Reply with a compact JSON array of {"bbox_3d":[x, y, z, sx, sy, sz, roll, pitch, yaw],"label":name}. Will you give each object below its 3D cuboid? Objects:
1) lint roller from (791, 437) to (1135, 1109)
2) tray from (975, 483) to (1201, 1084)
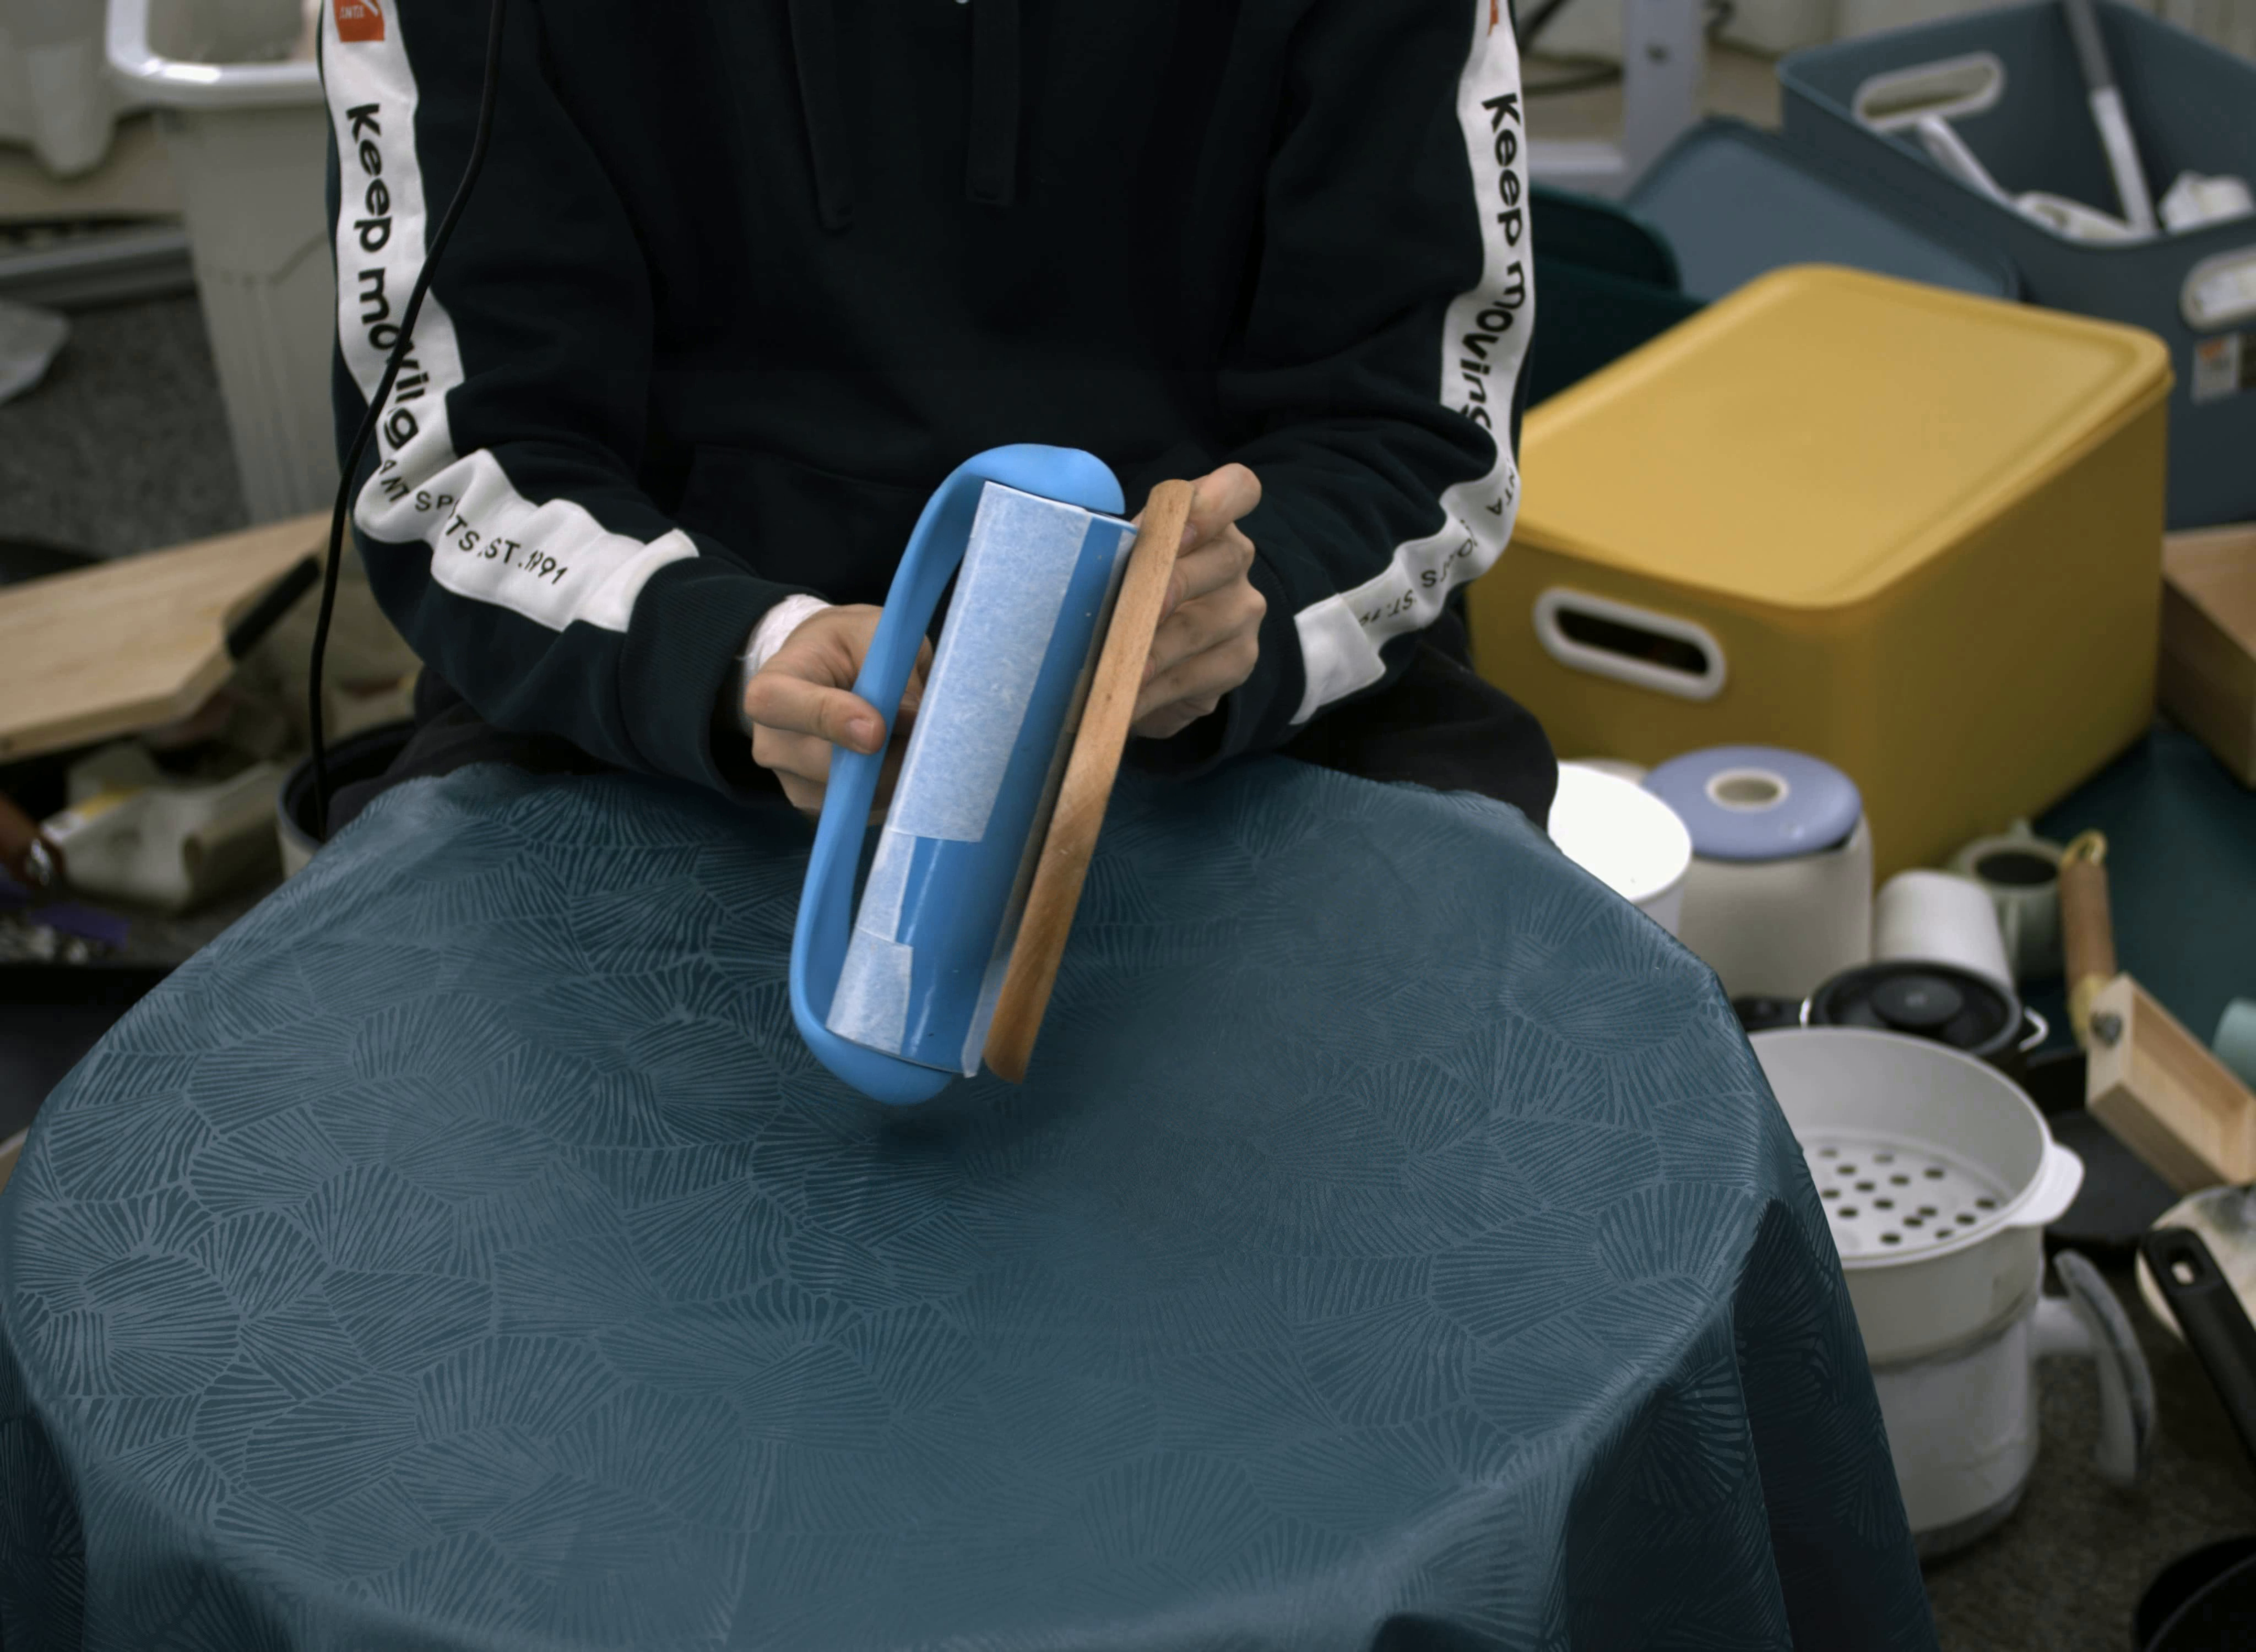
[{"bbox_3d":[-0.069,-0.023,1.929,0.068,0.230,0.180,15,0,-20],"label":"lint roller"},{"bbox_3d":[-0.013,-0.019,1.854,0.023,0.129,0.254,20,26,-2],"label":"tray"}]
